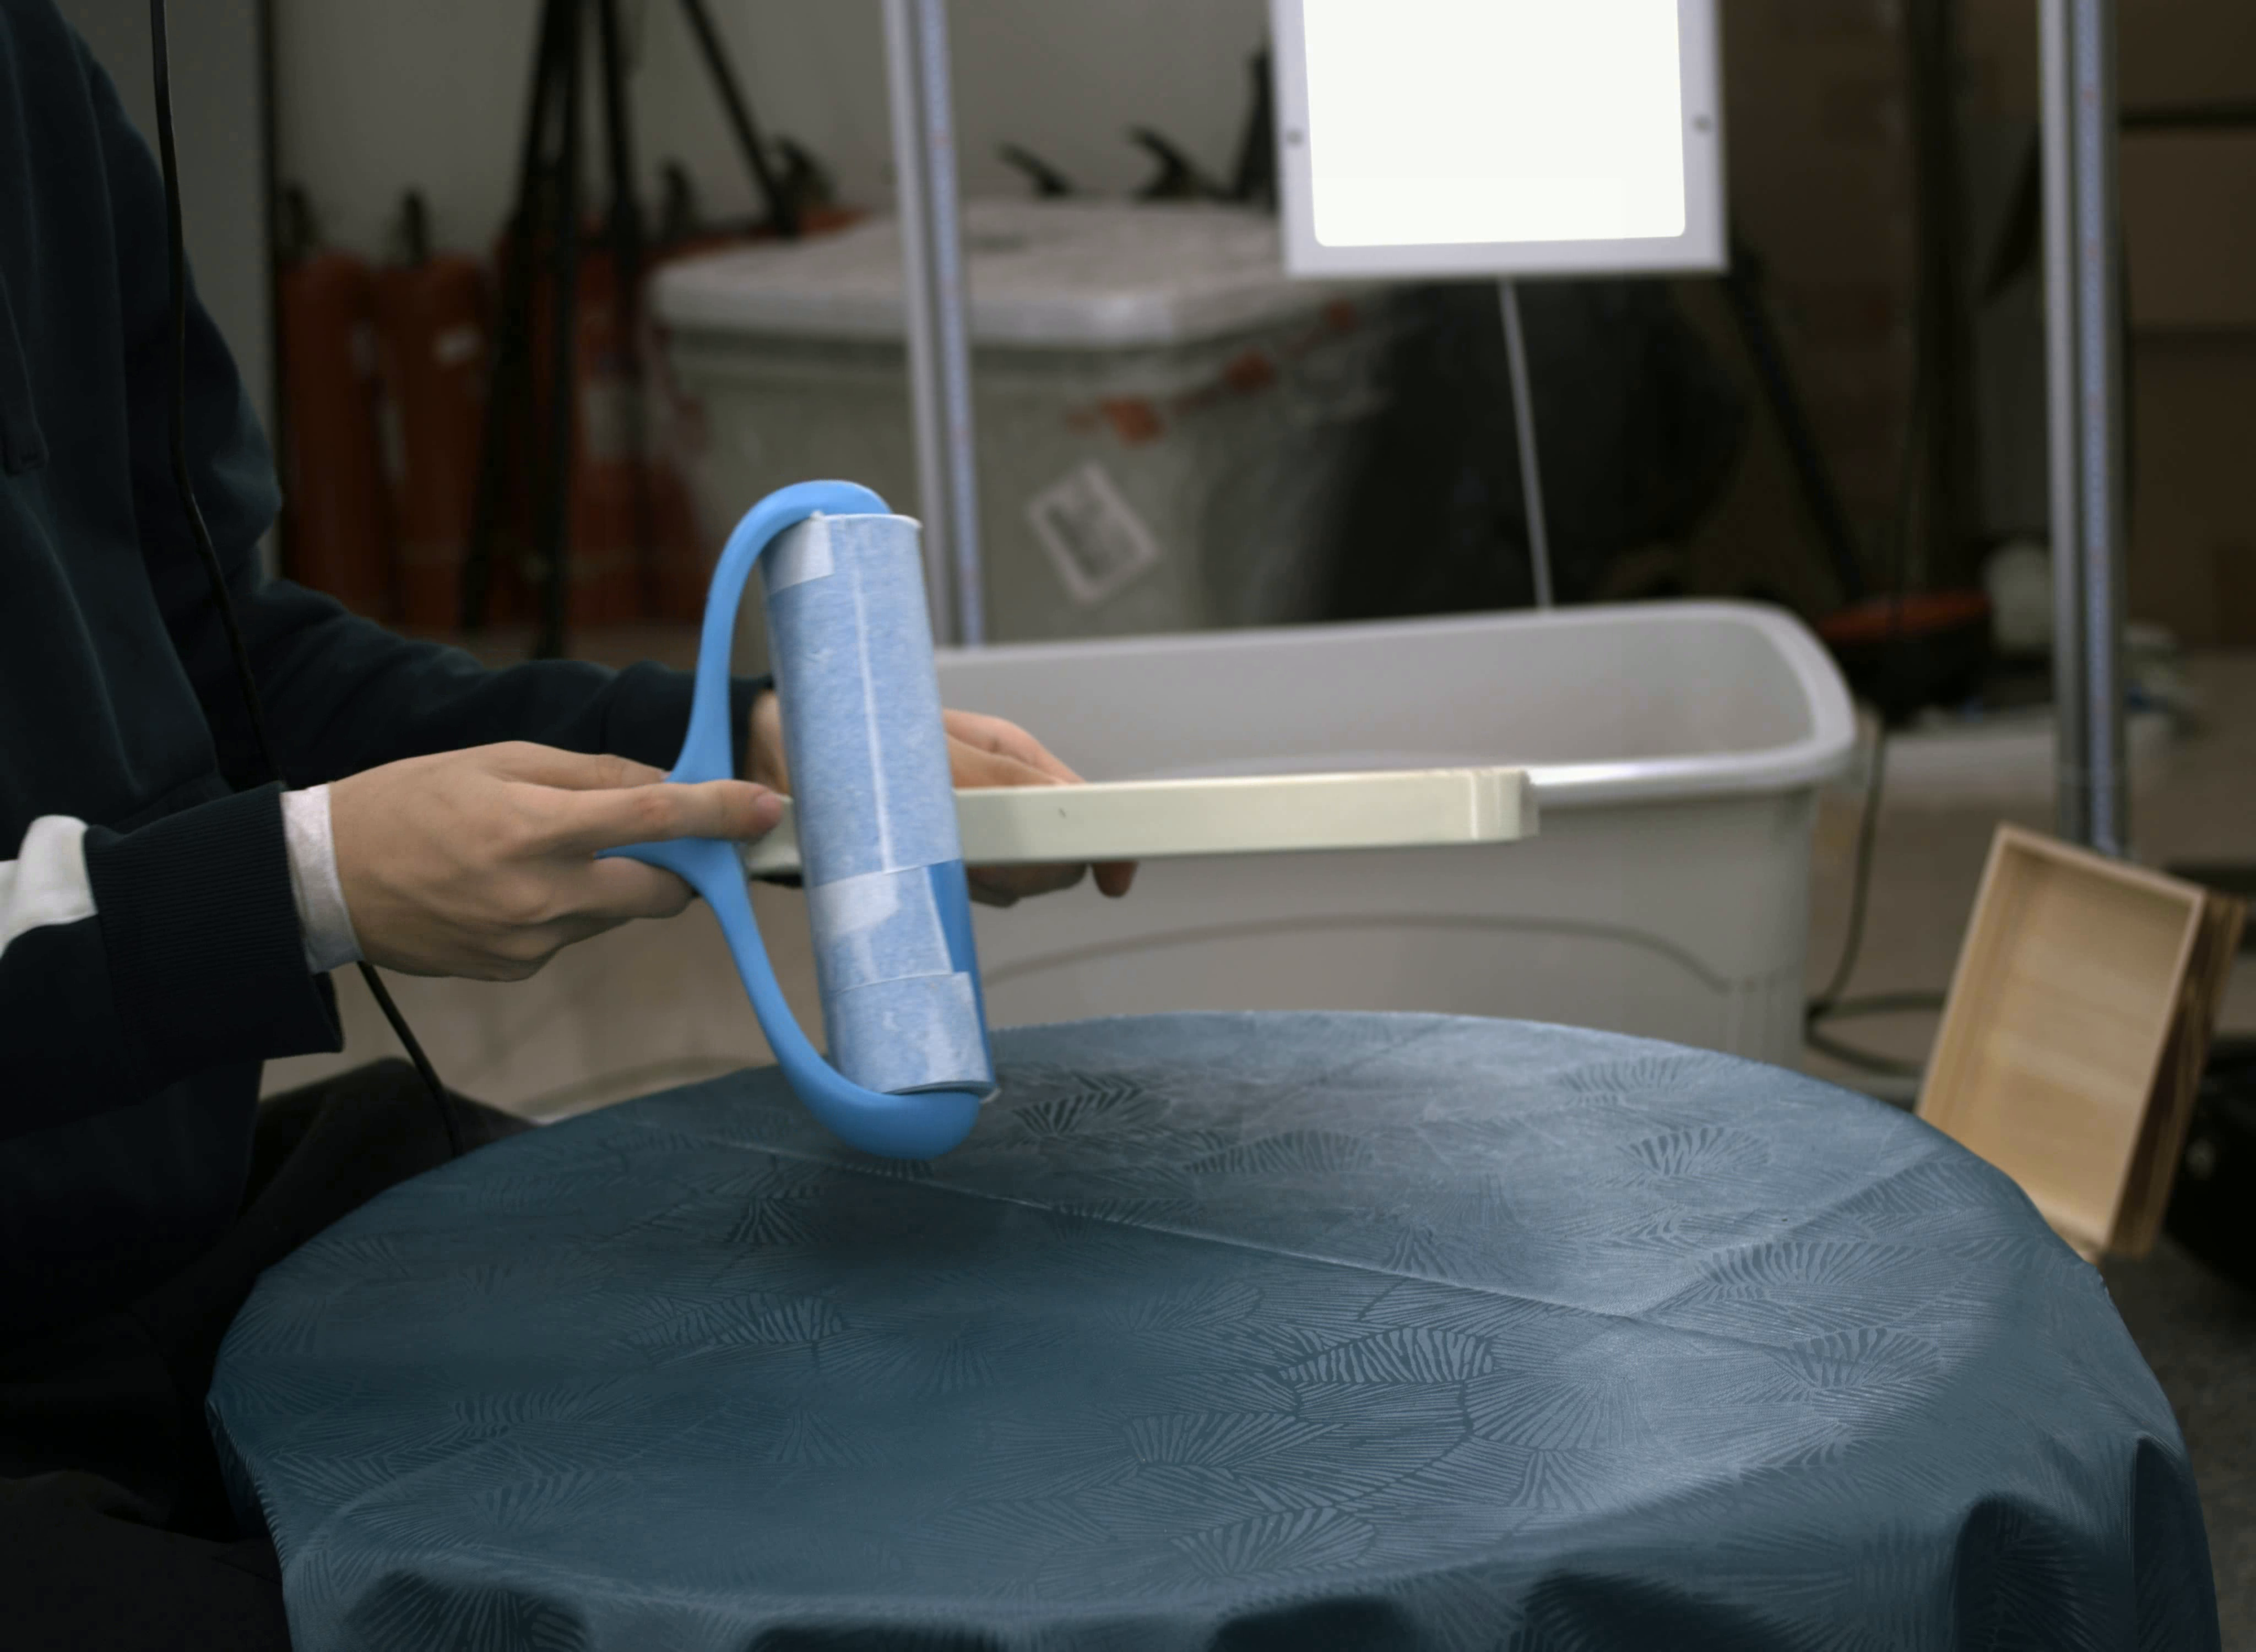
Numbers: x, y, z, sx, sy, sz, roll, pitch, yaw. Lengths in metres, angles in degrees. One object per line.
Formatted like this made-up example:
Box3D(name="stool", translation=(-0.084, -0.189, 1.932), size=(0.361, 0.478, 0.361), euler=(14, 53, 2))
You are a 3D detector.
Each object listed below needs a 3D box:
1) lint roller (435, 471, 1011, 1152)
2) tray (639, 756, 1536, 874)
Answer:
Box3D(name="lint roller", translation=(-0.140, 0.007, 1.806), size=(0.179, 0.229, 0.068), euler=(-13, -8, -1))
Box3D(name="tray", translation=(-0.009, -0.003, 1.938), size=(0.302, 0.027, 0.190), euler=(-3, -1, 9))
